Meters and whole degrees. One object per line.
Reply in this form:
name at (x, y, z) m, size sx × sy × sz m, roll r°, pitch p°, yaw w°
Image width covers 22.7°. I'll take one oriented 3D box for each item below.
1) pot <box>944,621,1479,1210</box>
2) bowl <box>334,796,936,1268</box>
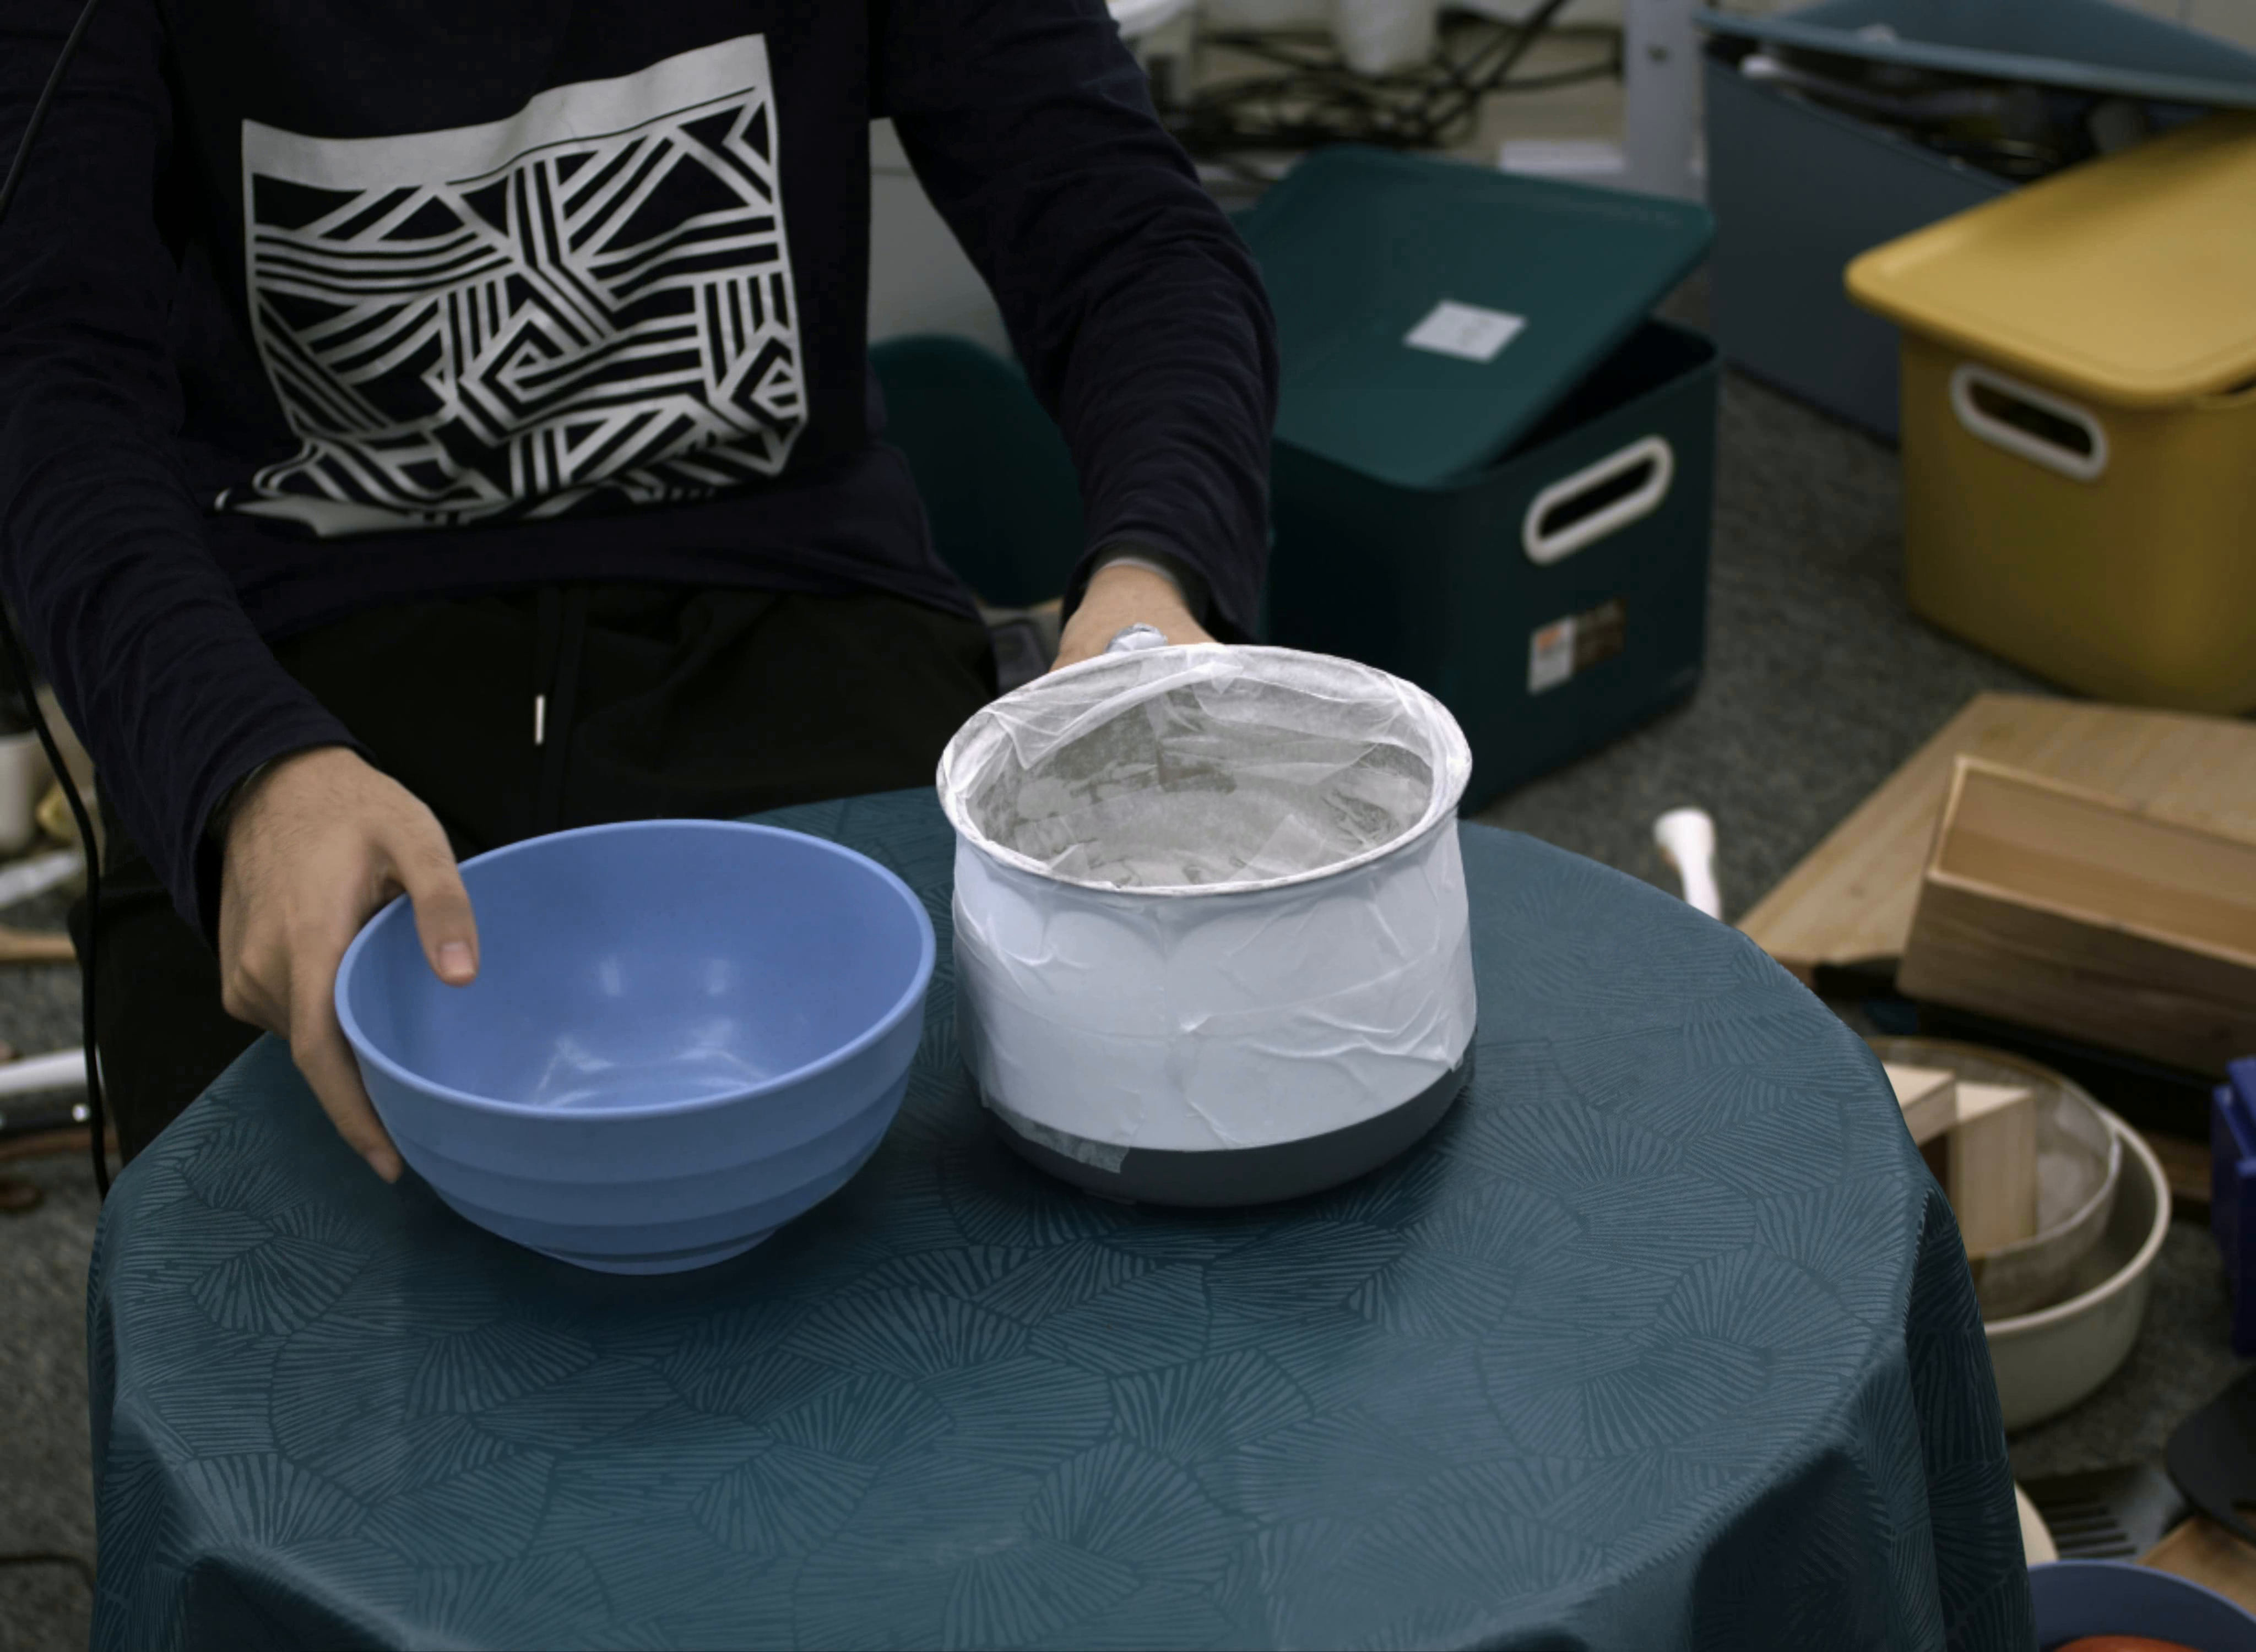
pot at (0.021, 0.023, 1.904) m, size 0.178 × 0.135 × 0.236 m, roll -7°, pitch 27°, yaw -12°
bowl at (-0.157, 0.080, 1.845) m, size 0.195 × 0.094 × 0.200 m, roll -2°, pitch 31°, yaw 2°
